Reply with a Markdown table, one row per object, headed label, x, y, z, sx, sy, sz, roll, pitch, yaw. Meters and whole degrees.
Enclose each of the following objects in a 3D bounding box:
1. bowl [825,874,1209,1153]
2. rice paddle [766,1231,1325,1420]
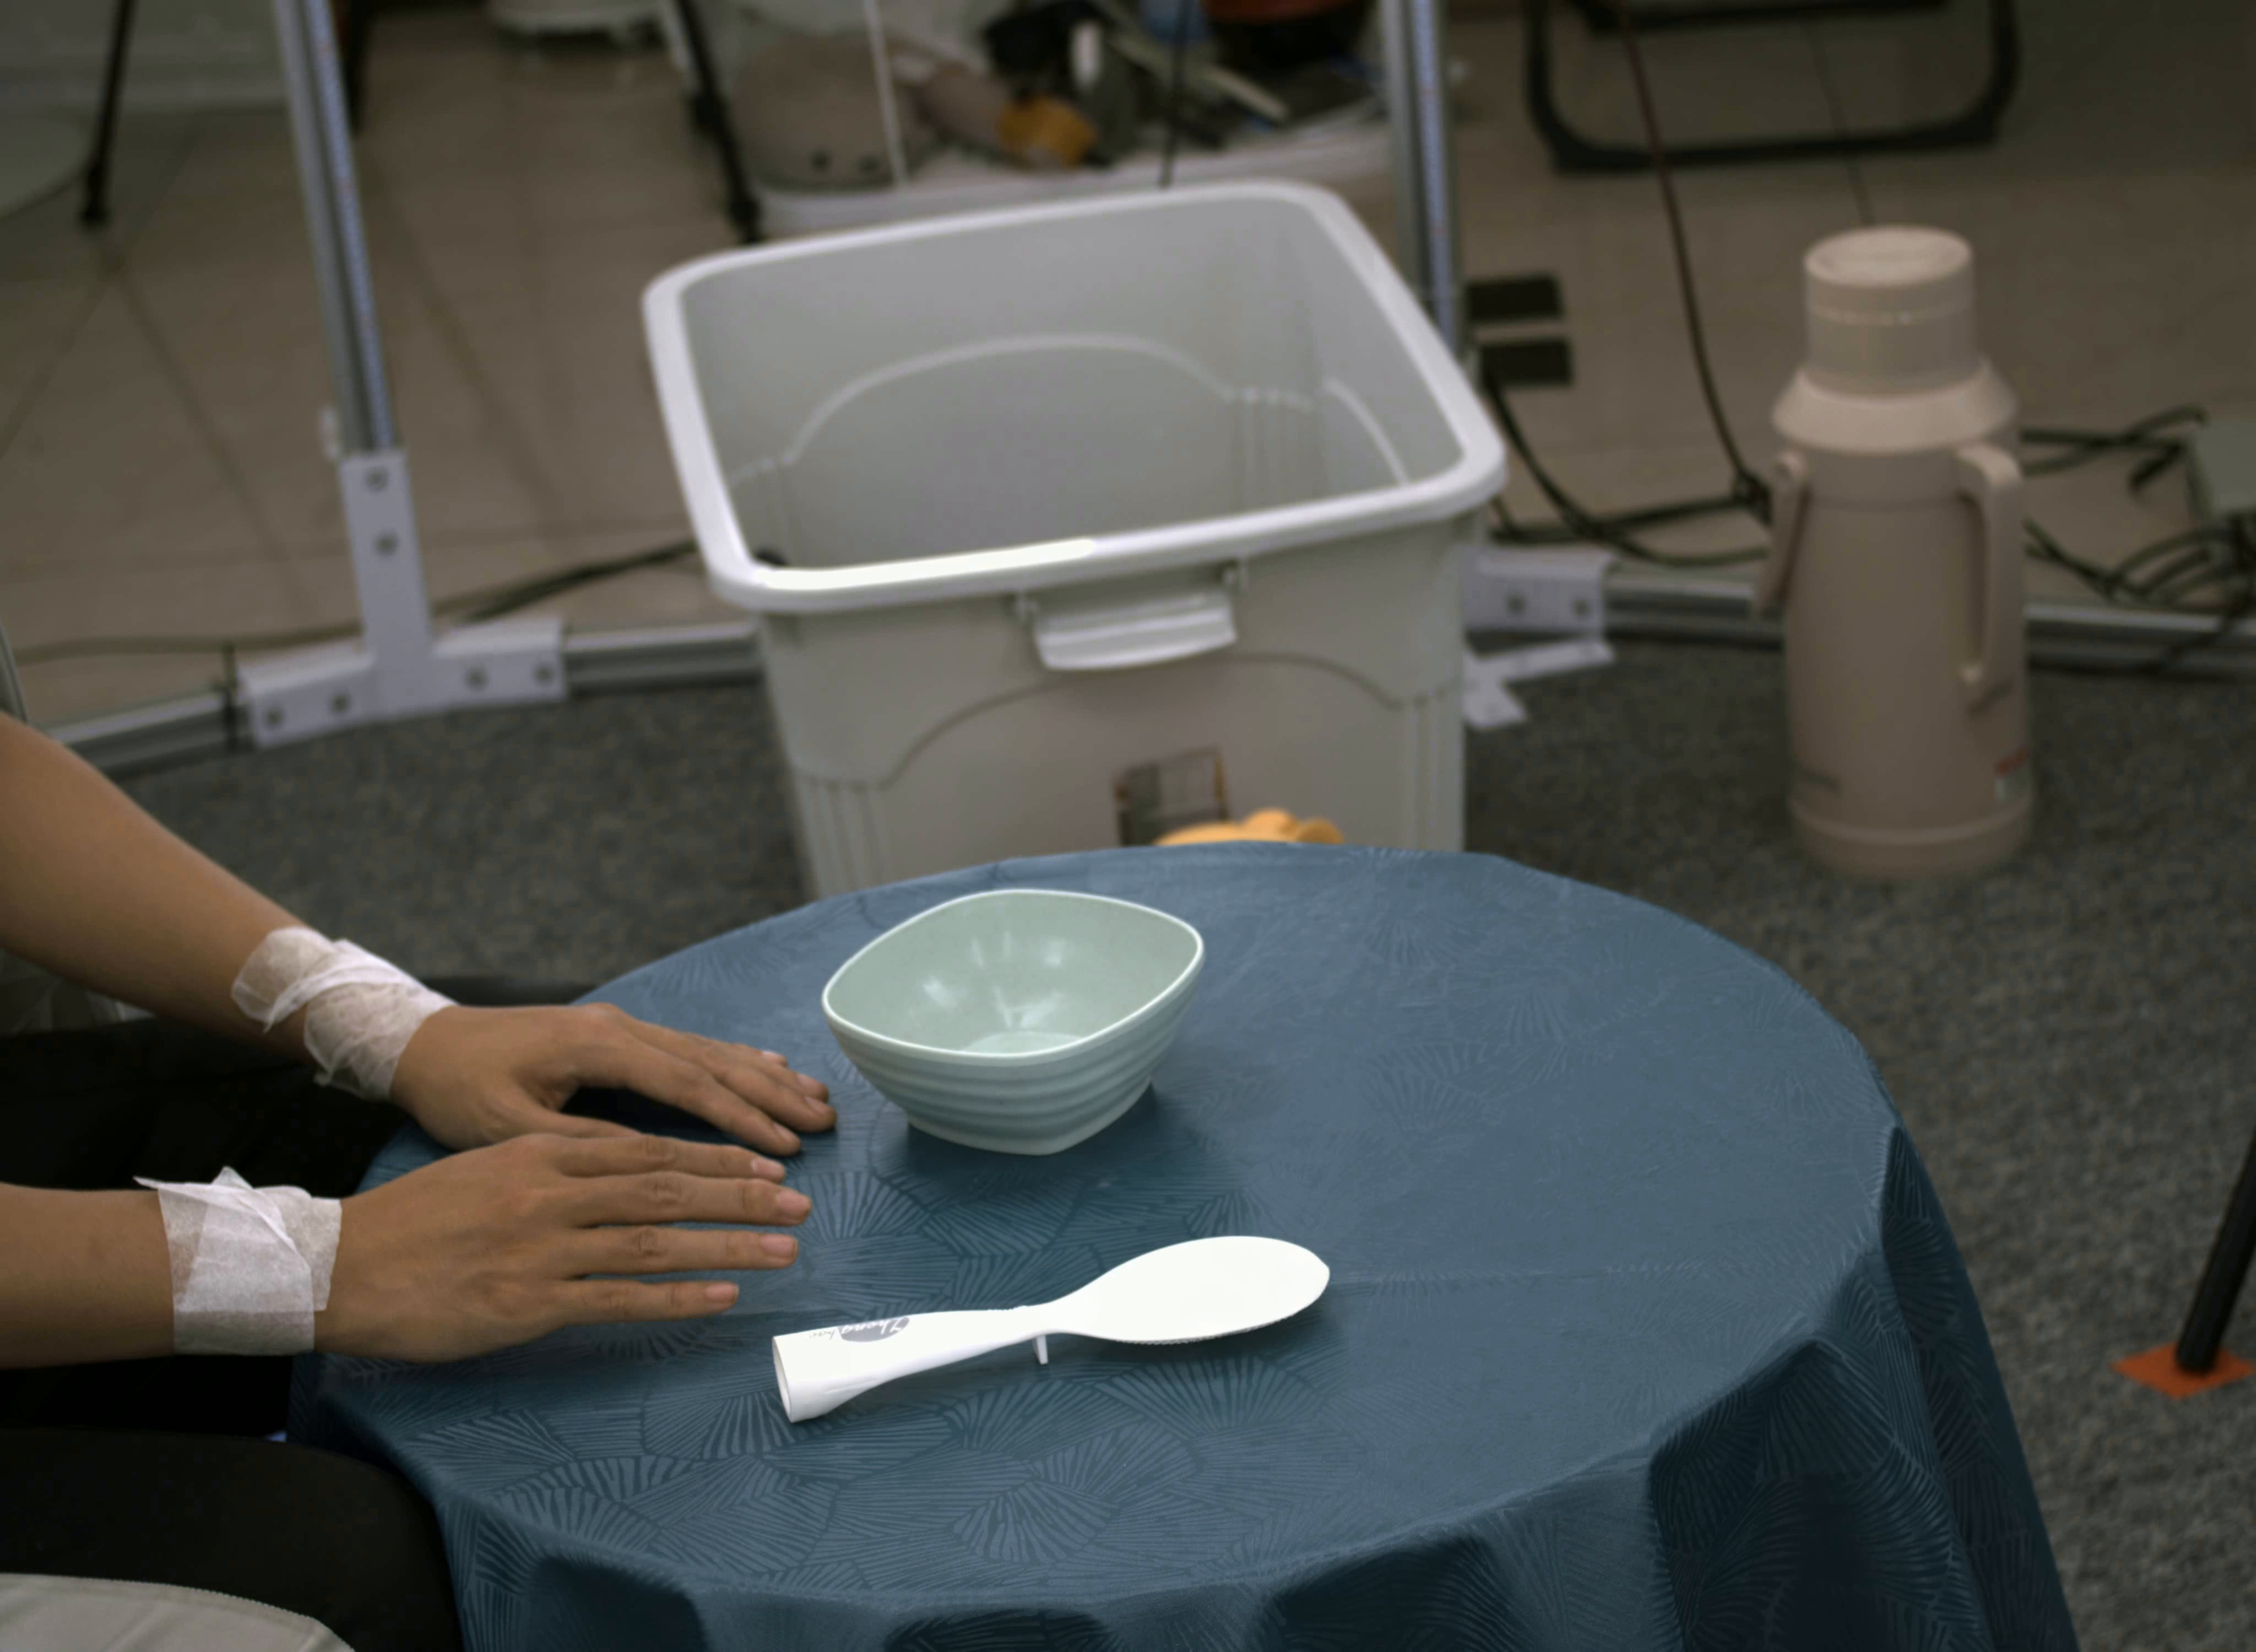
| label | x | y | z | sx | sy | sz | roll | pitch | yaw |
| --- | --- | --- | --- | --- | --- | --- | --- | --- | --- |
| bowl | -0.041 | 0.079 | 2.217 | 0.151 | 0.059 | 0.149 | -4 | 29 | 2 |
| rice paddle | -0.028 | 0.176 | 2.042 | 0.205 | 0.030 | 0.068 | -11 | 27 | -11 |
